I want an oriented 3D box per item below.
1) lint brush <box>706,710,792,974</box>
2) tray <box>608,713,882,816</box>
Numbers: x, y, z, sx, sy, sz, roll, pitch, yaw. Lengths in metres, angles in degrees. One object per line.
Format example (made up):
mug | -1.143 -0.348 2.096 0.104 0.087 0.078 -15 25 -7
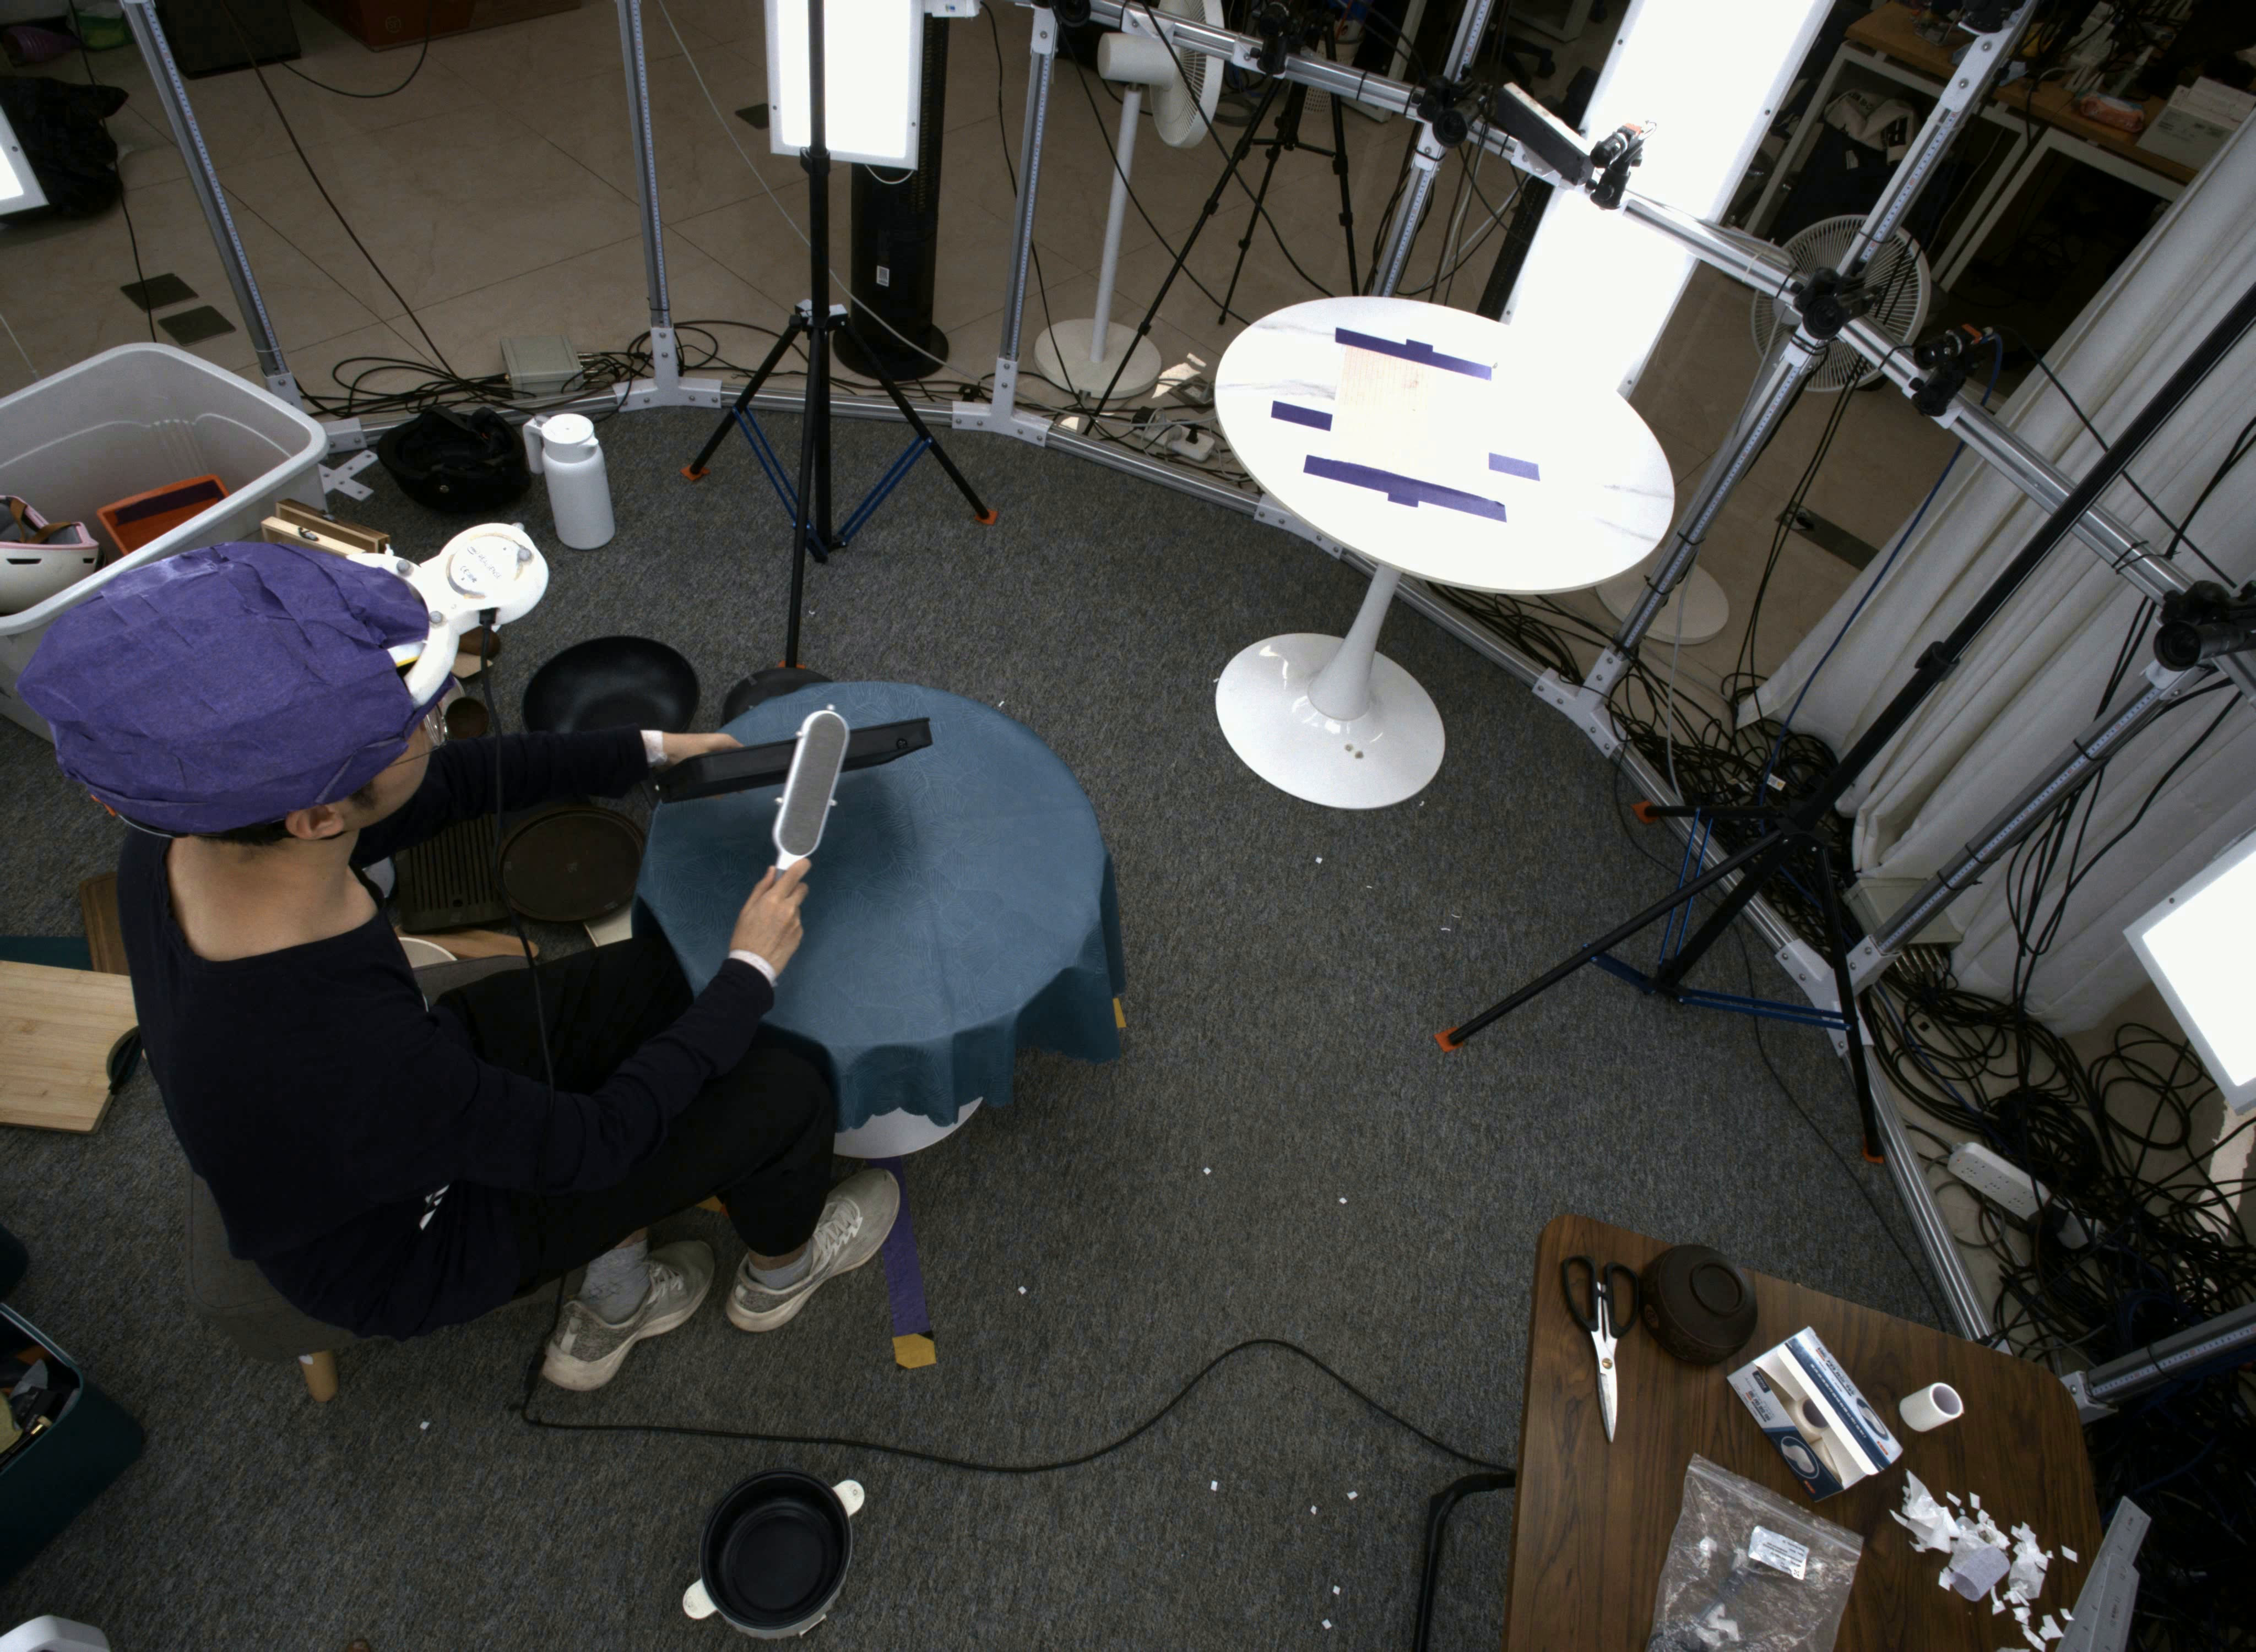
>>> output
lint brush | -0.449 0.017 1.511 0.062 0.020 0.311 17 81 -44
tray | -0.478 -0.078 1.613 0.321 0.180 0.037 -16 90 -36
